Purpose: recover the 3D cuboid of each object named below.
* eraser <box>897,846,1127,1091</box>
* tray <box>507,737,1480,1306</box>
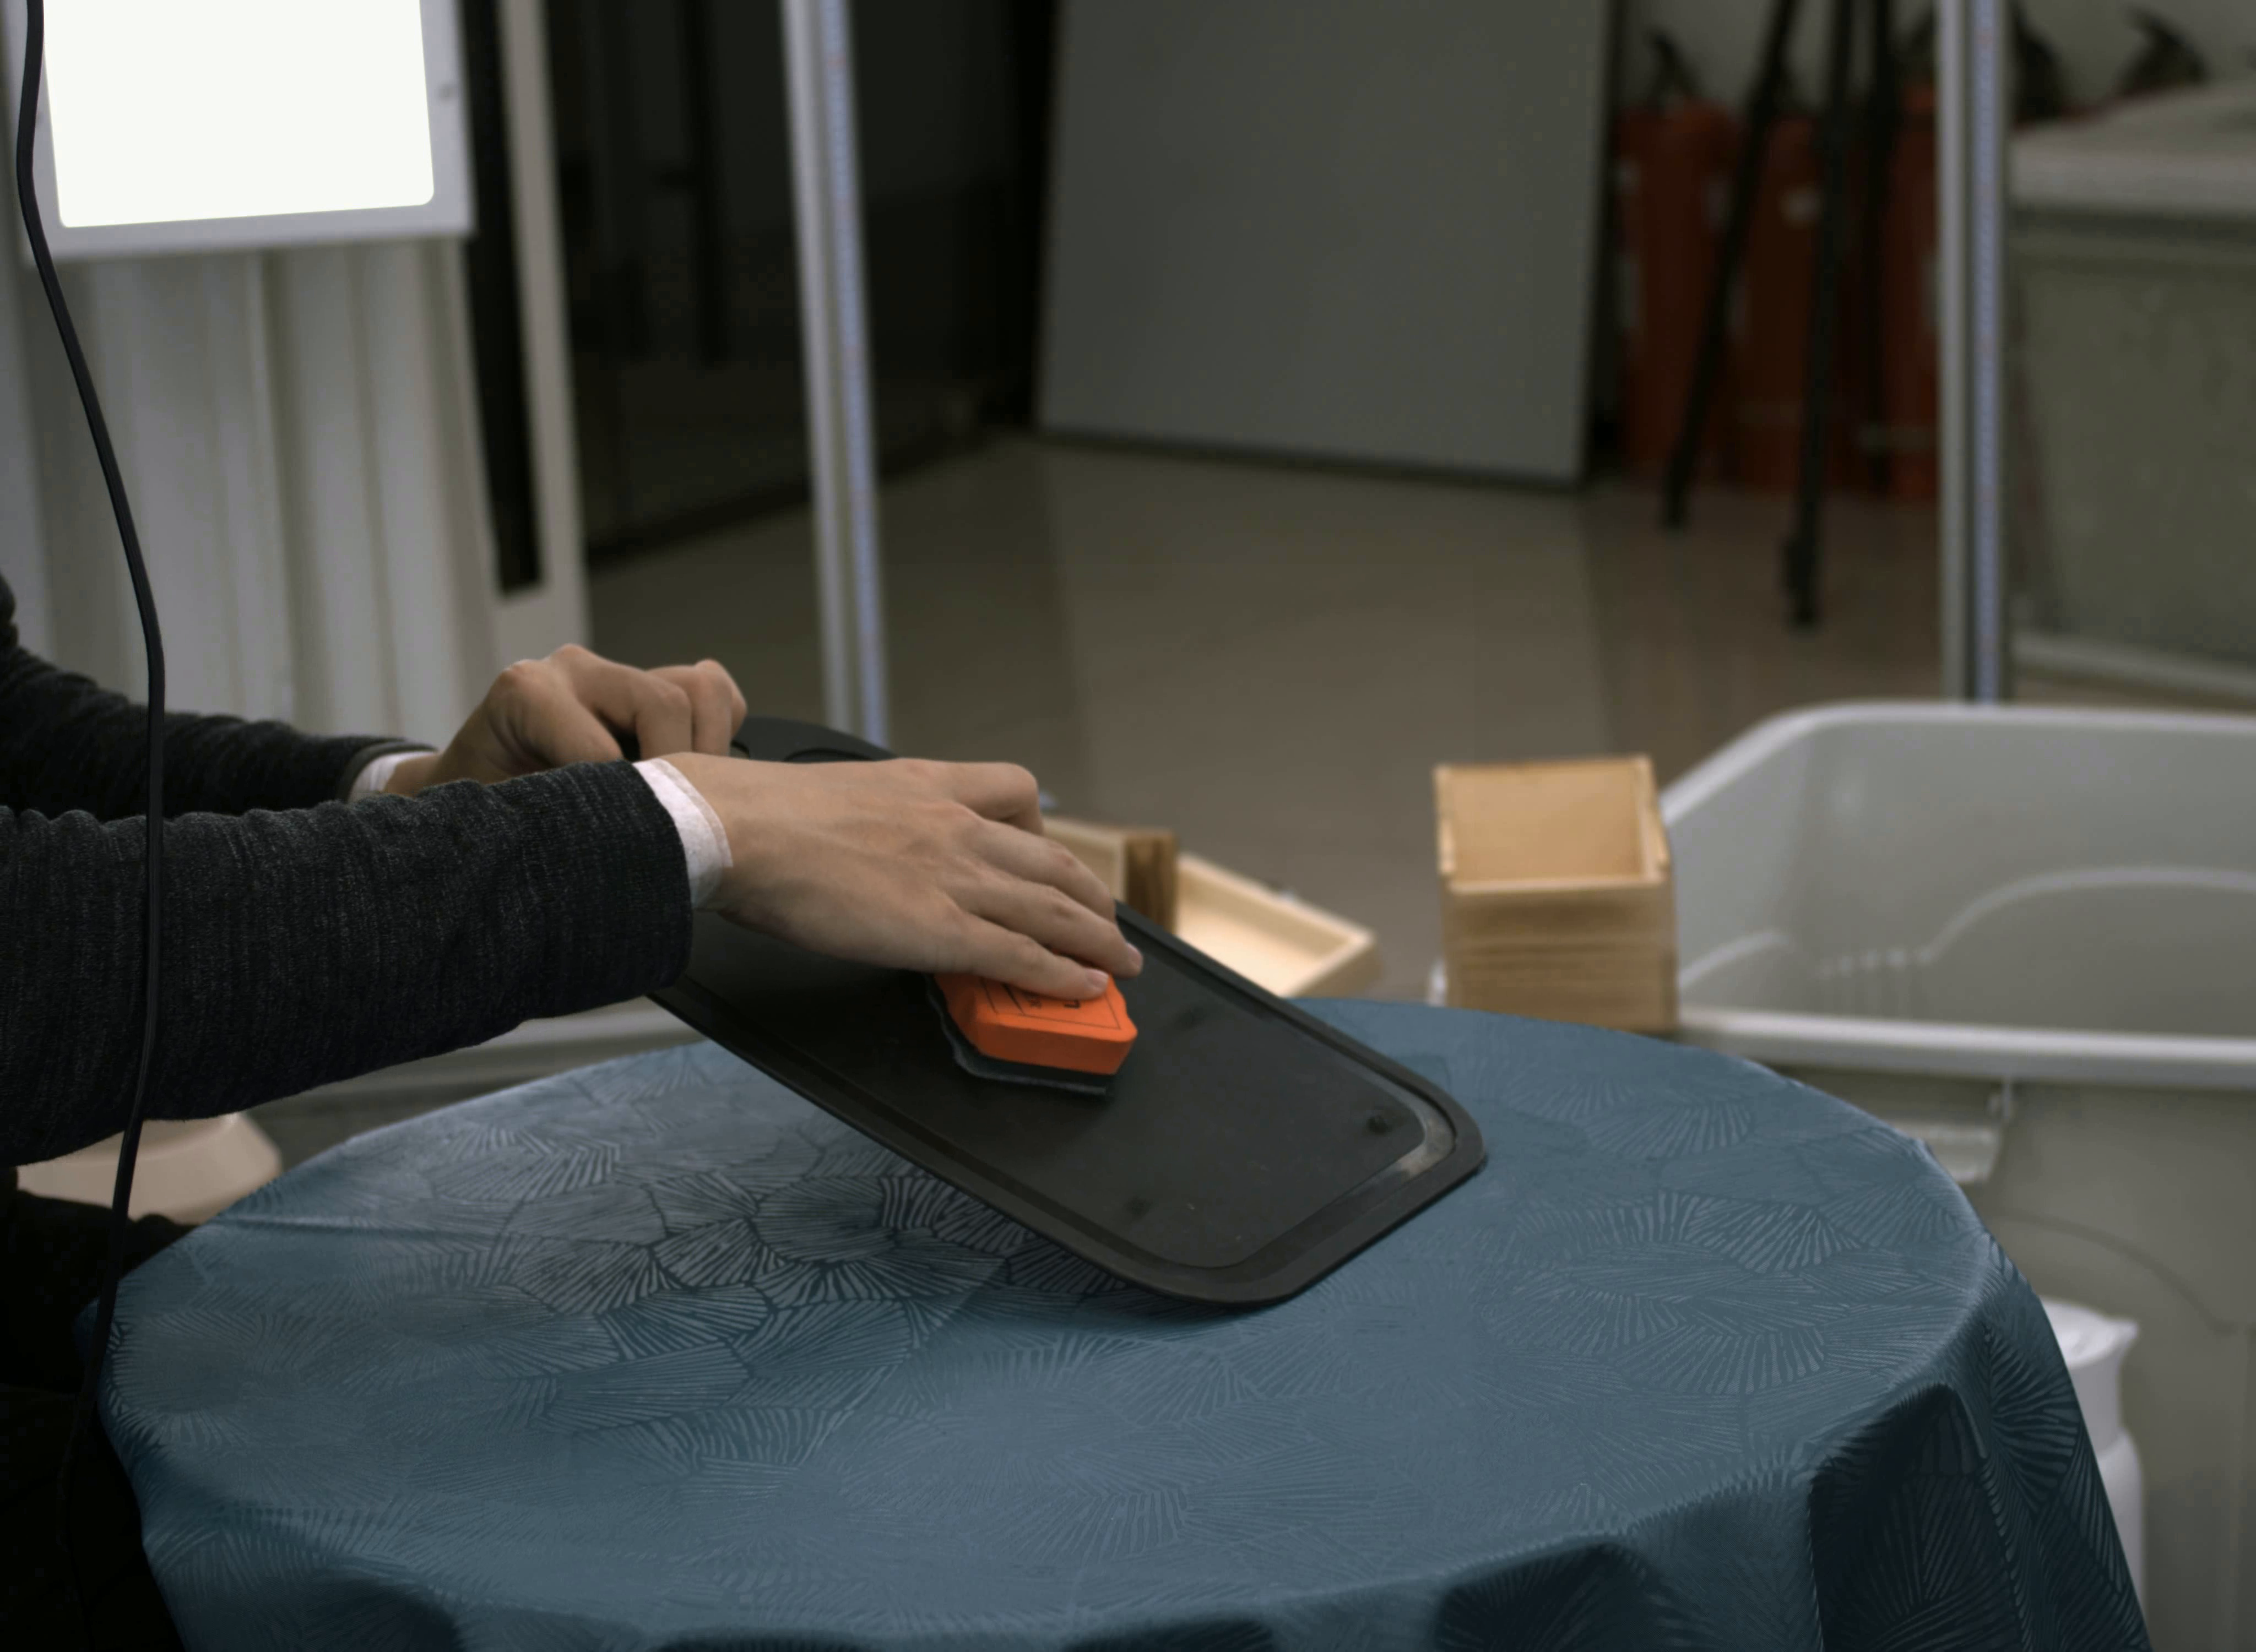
[{"bbox_3d":[-0.038,0.046,1.770,0.058,0.023,0.109,7,29,-19],"label":"eraser"},{"bbox_3d":[-0.049,0.054,1.769,0.327,0.010,0.208,30,27,22],"label":"tray"}]
